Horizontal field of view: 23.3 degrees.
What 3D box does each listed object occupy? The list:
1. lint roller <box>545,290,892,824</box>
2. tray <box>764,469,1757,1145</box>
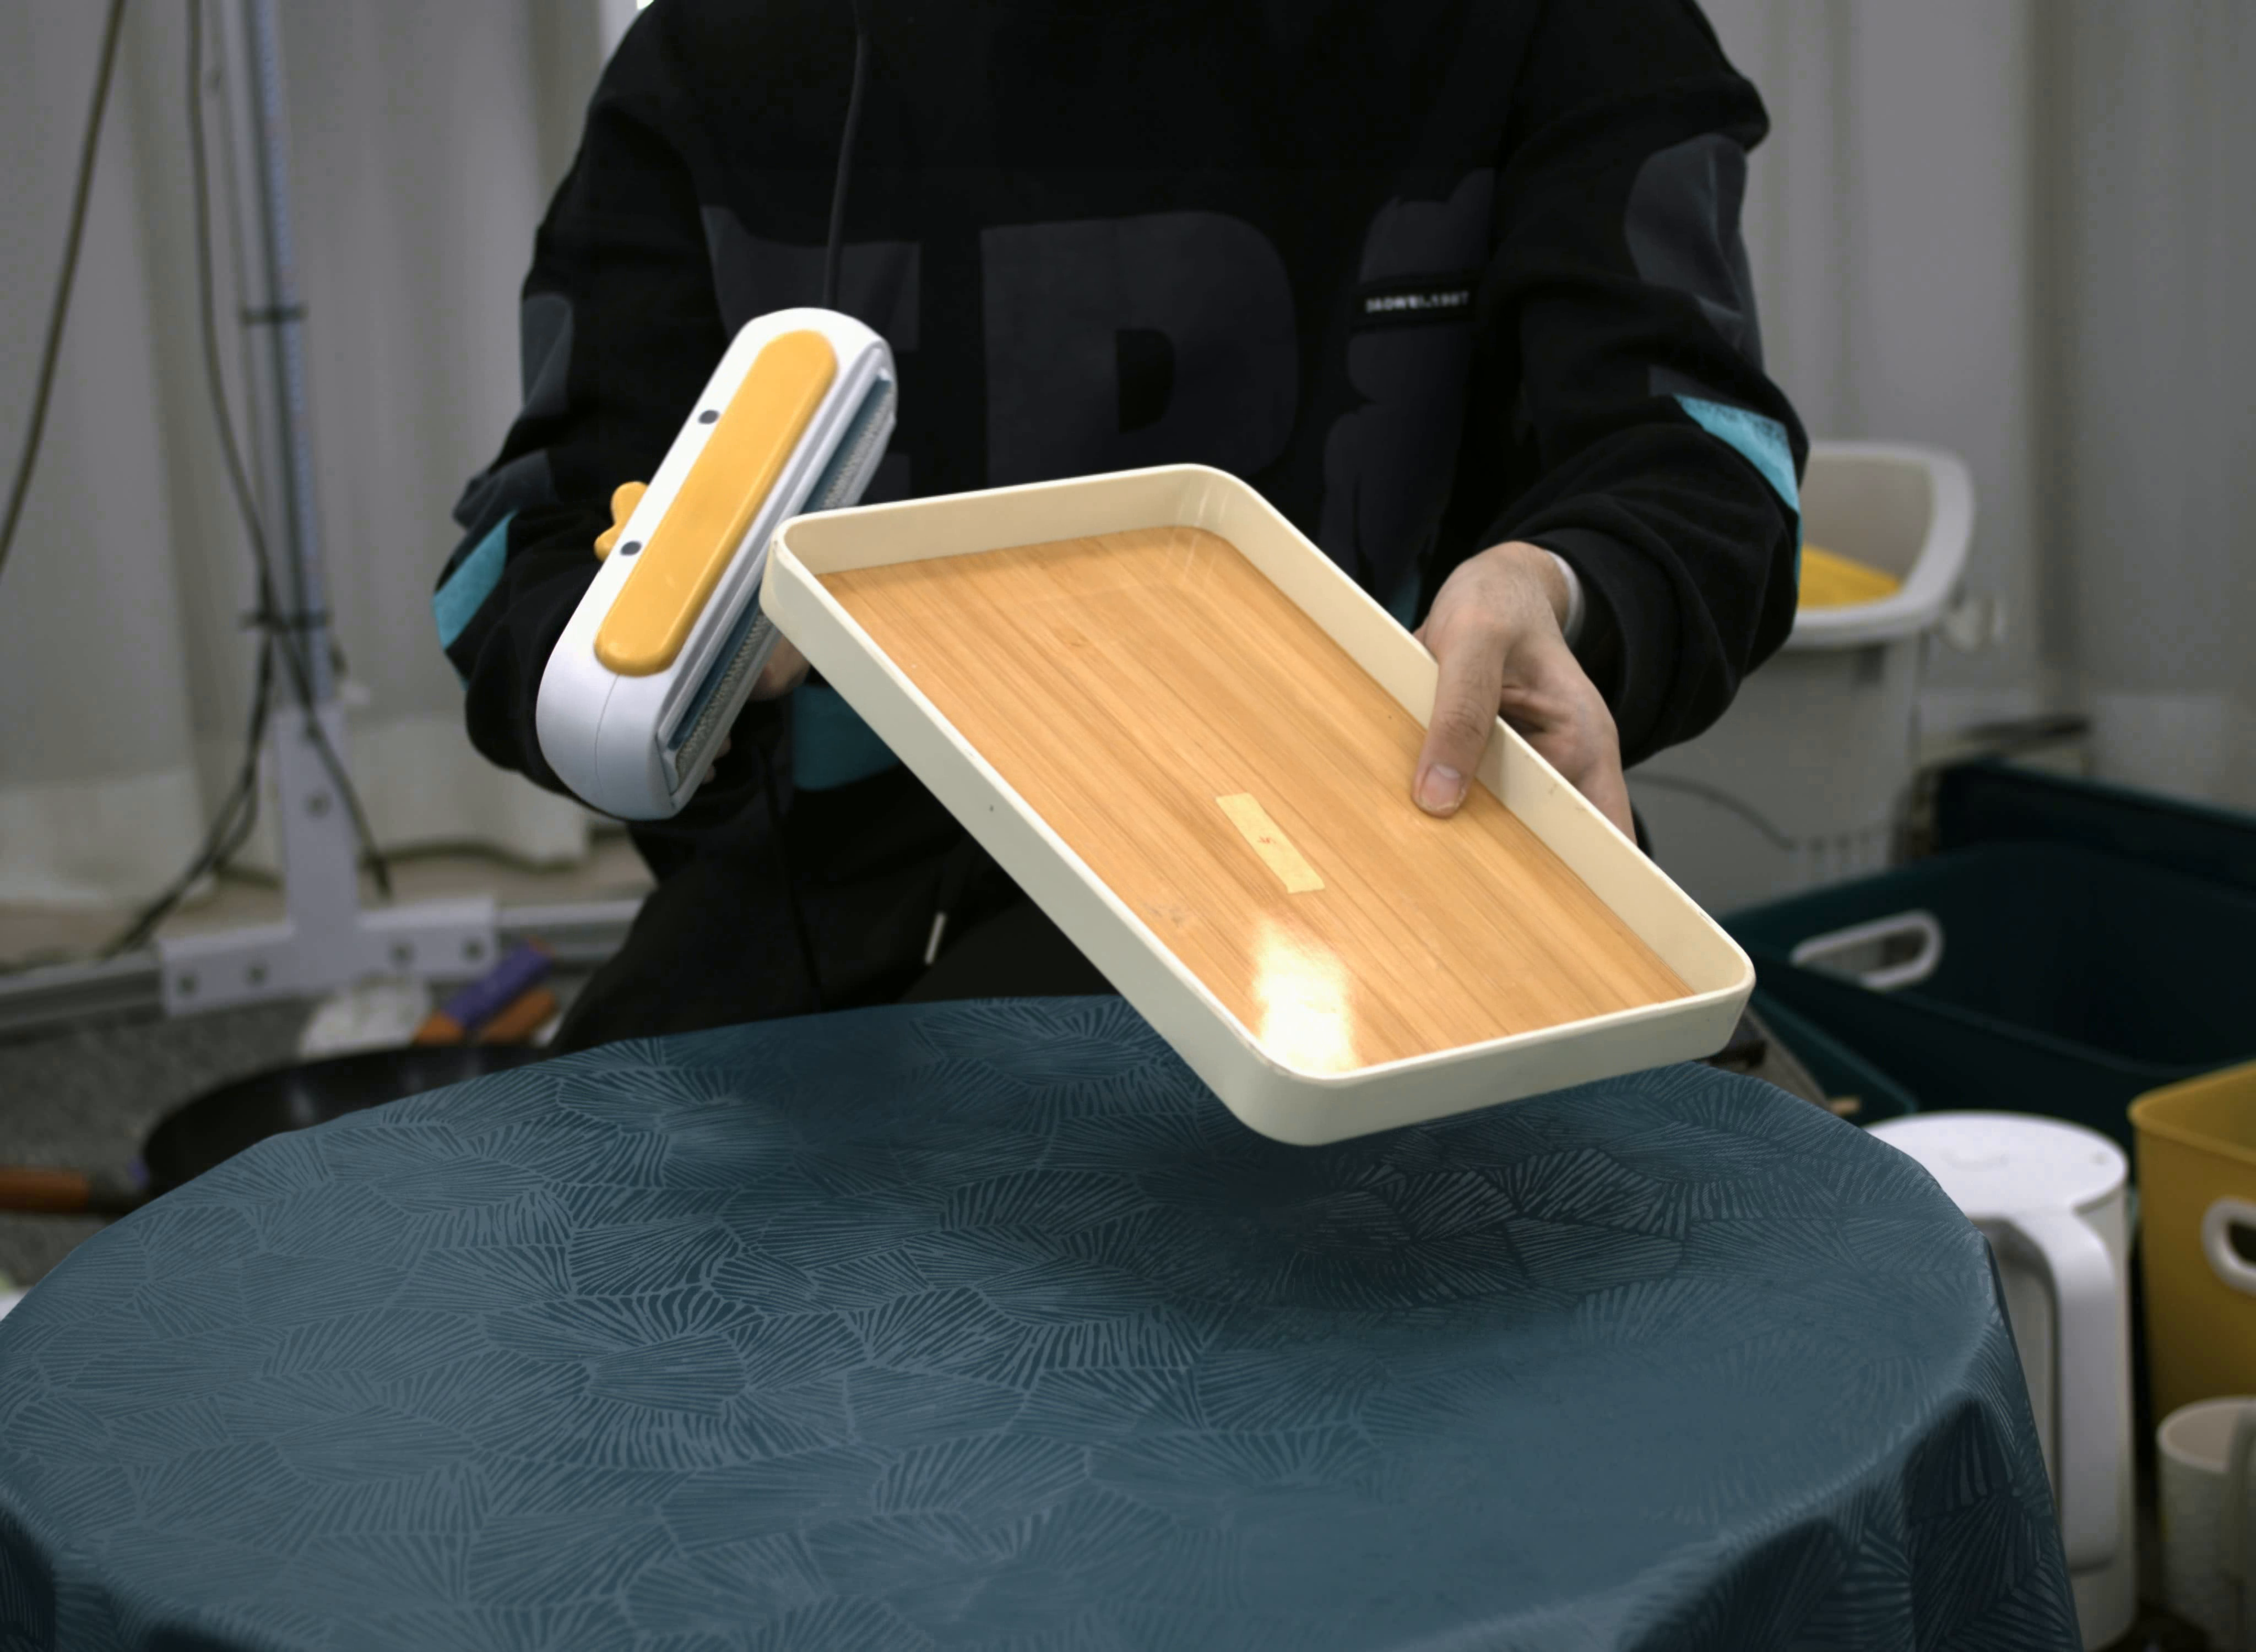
[{"bbox_3d":[-0.143,-0.062,1.848,0.074,0.190,0.195,17,55,7],"label":"lint roller"},{"bbox_3d":[0.037,-0.013,1.687,0.191,0.027,0.304,-9,40,-36],"label":"tray"}]
